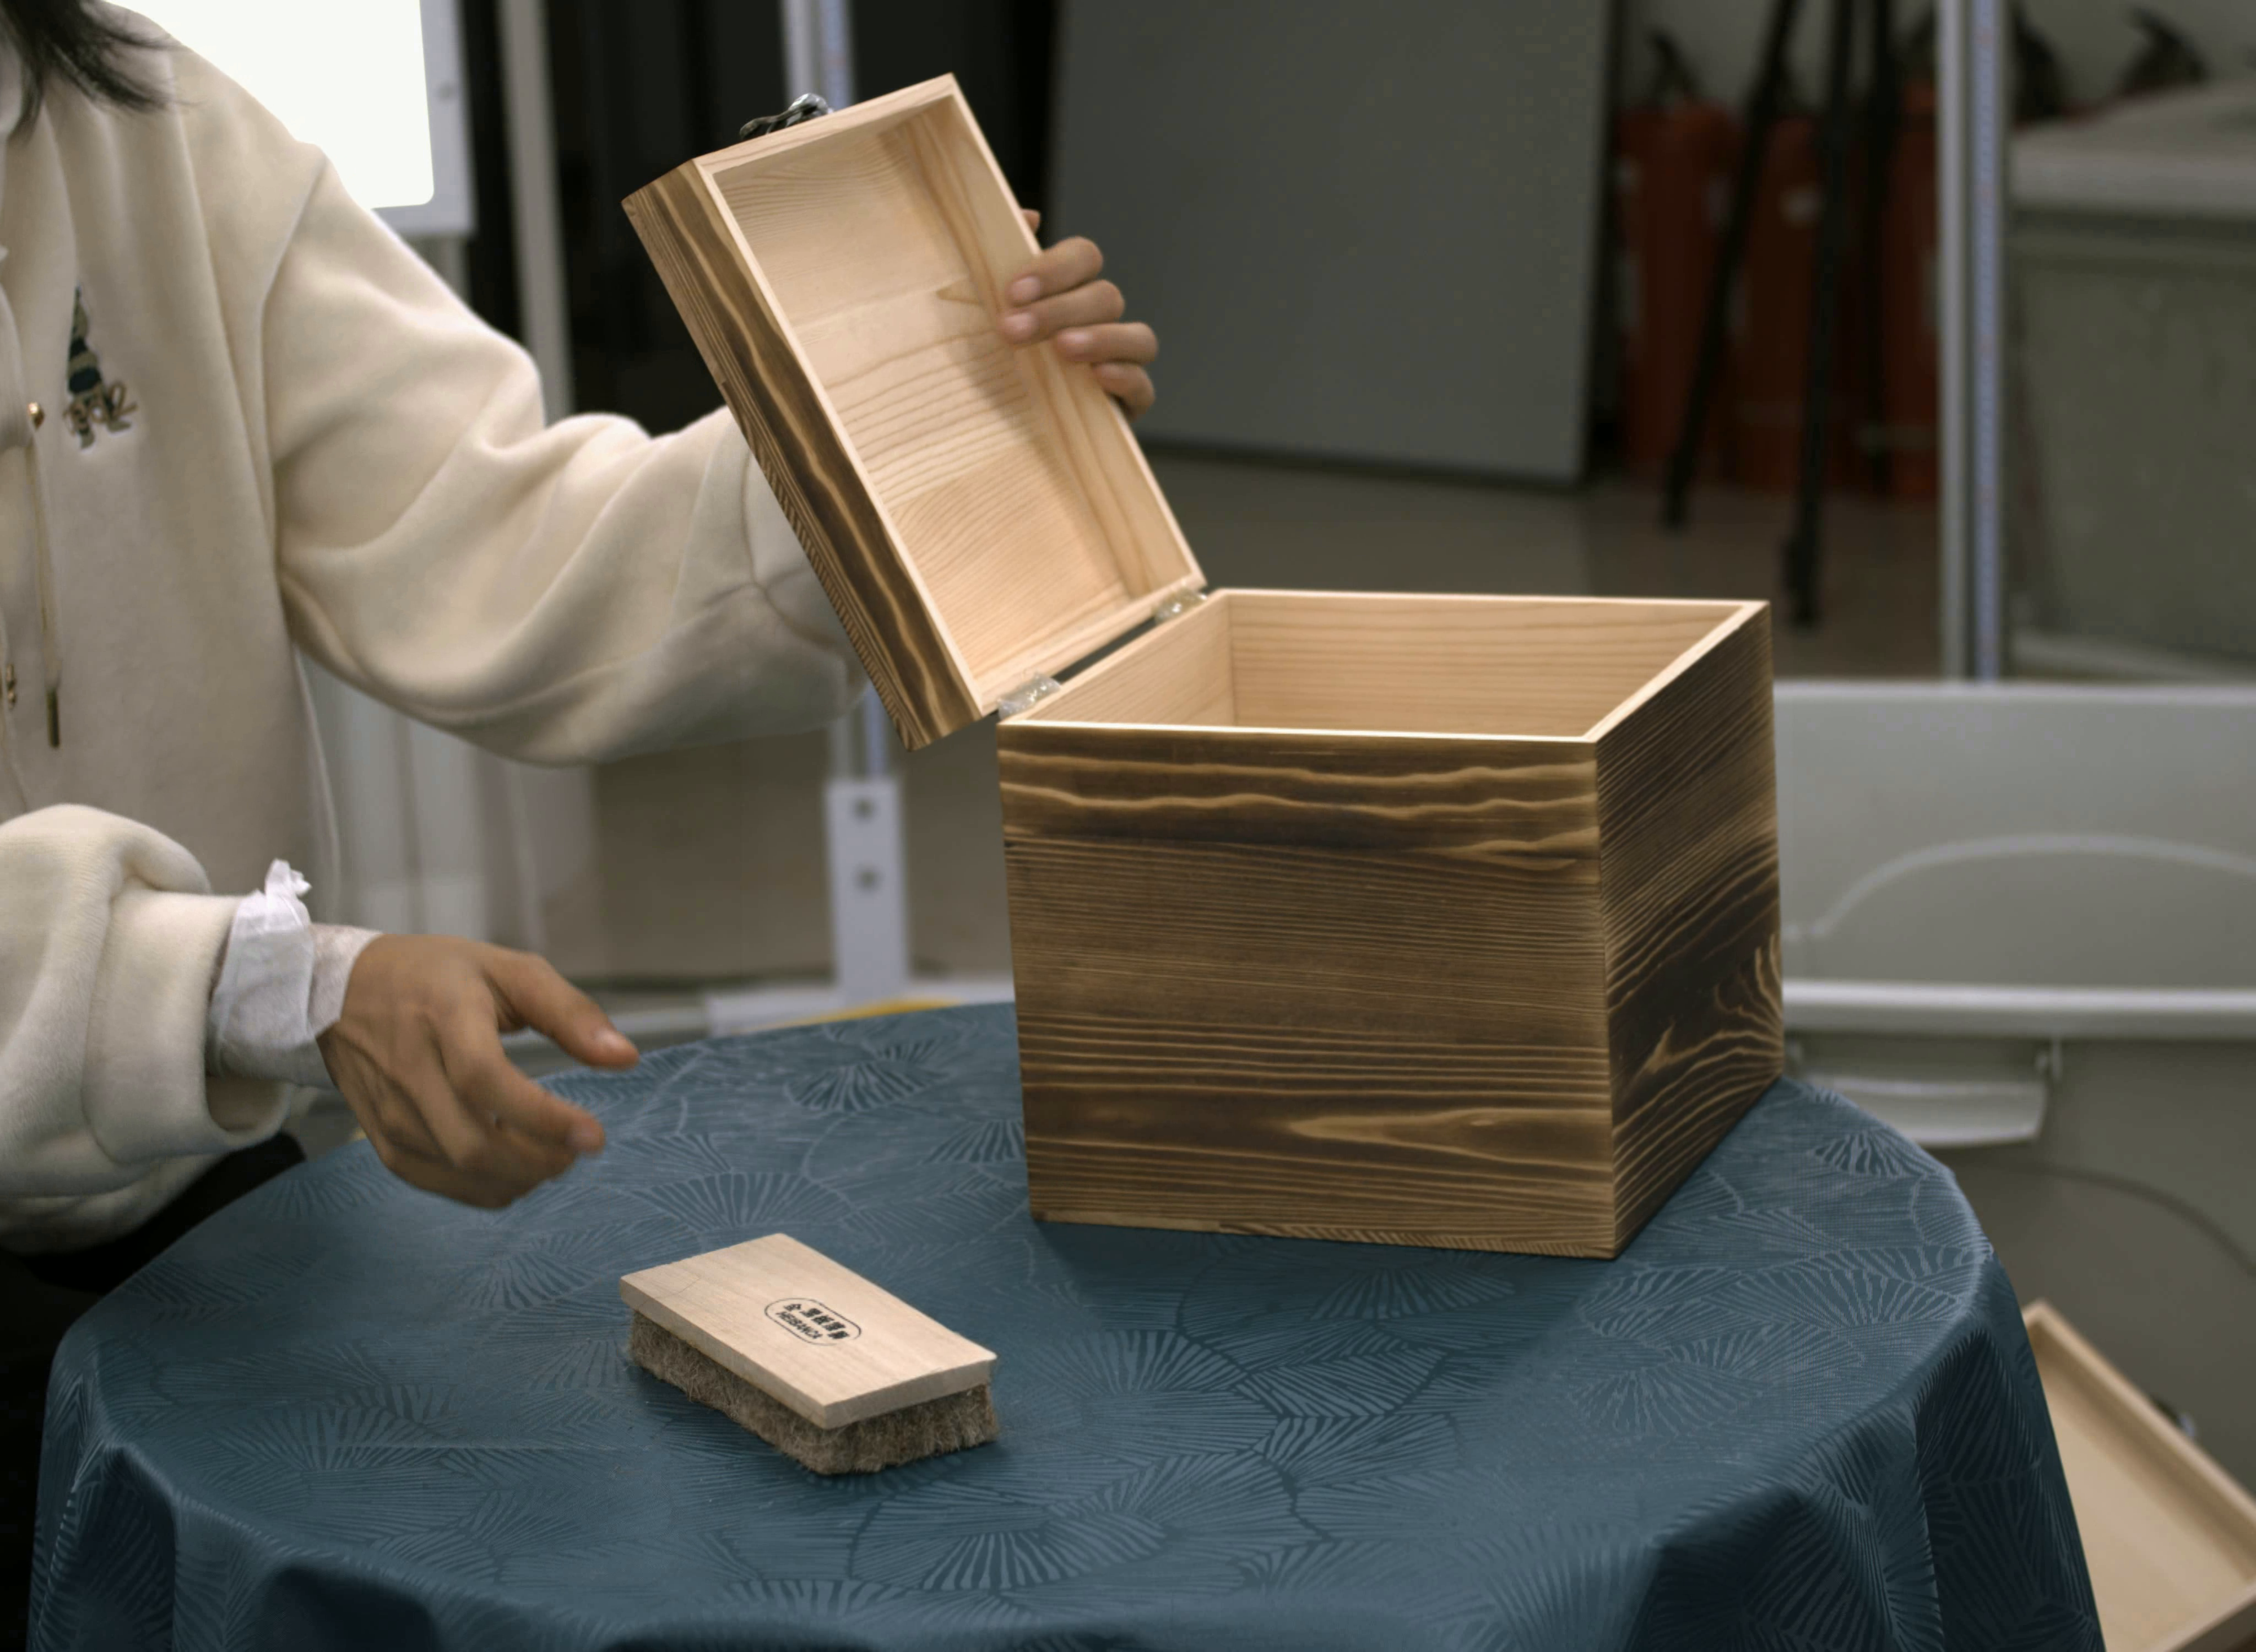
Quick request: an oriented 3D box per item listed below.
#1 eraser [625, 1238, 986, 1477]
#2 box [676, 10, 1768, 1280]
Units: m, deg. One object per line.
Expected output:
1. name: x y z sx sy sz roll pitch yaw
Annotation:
1. eraser: -0.095 0.157 1.592 0.056 0.029 0.141 -13 15 -25
2. box: 0.038 -0.072 1.770 0.322 0.379 0.206 3 16 22
